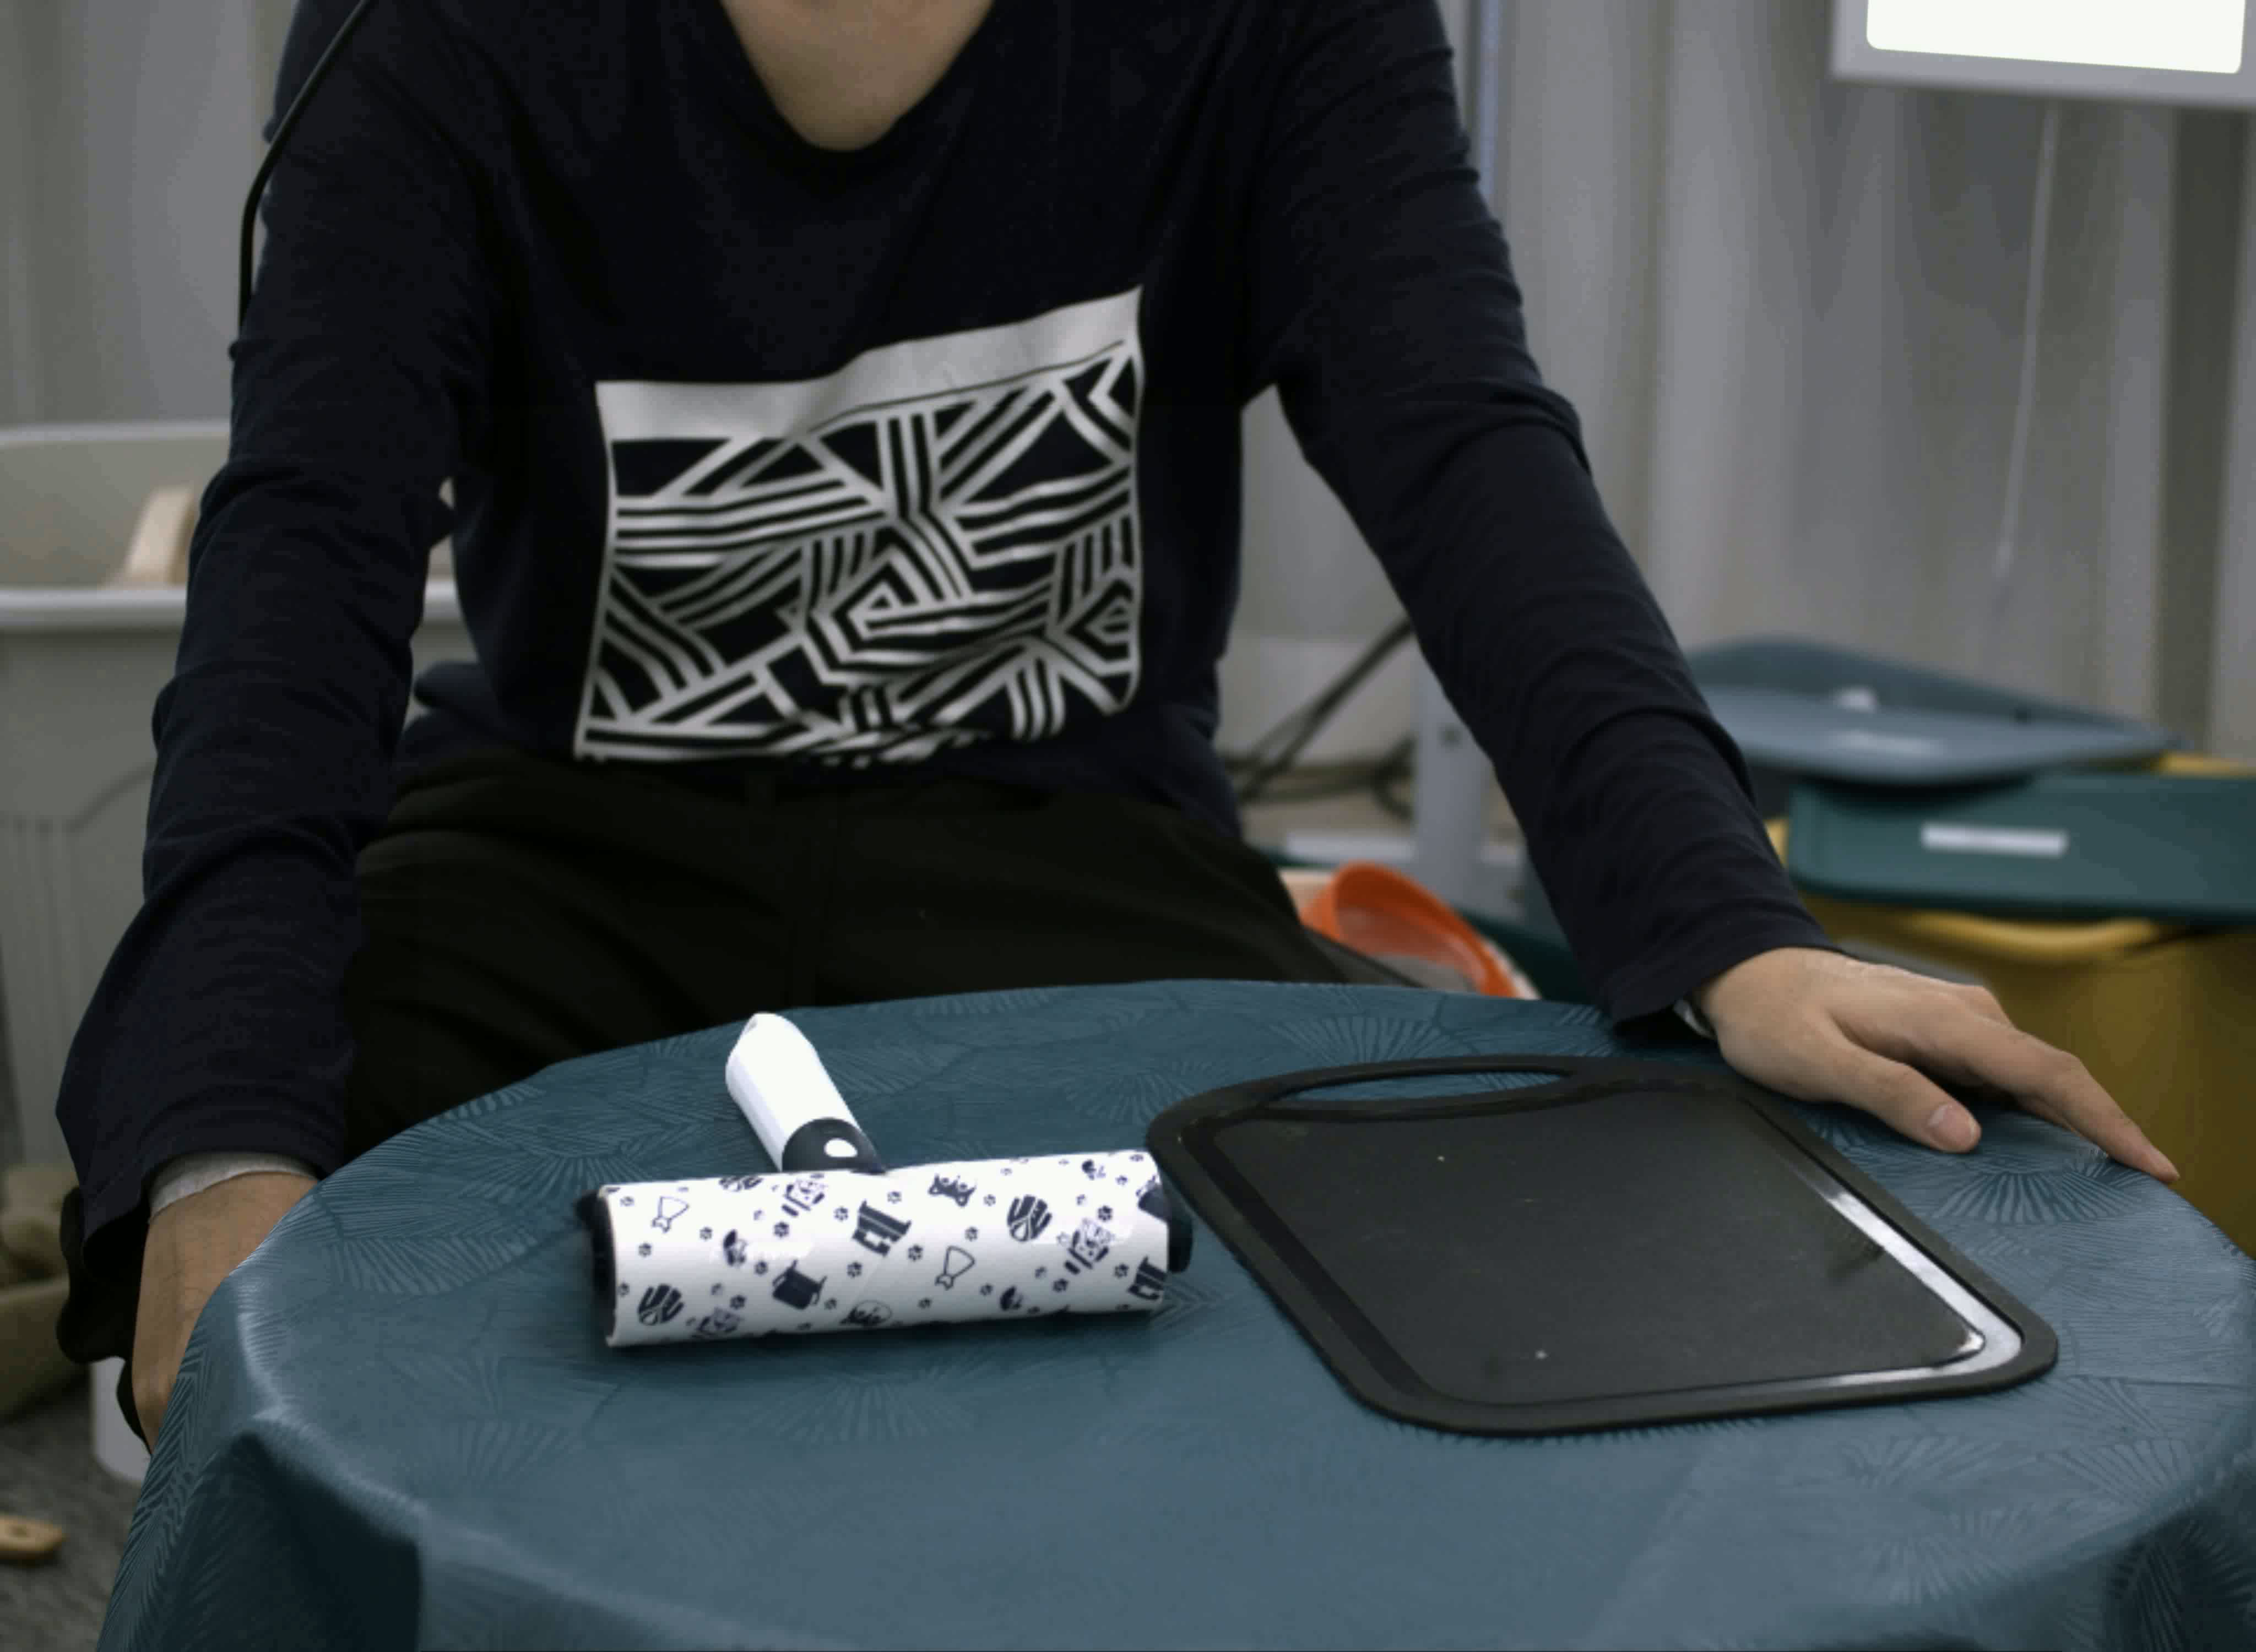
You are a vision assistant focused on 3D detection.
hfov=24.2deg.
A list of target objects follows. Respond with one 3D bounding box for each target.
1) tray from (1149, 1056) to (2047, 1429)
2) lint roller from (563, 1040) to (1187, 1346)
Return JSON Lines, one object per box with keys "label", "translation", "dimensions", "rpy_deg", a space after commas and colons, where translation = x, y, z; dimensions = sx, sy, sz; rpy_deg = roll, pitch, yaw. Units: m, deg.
{"label": "tray", "translation": [0.131, 0.118, 1.597], "dimensions": [0.211, 0.010, 0.322], "rpy_deg": [-3, 16, -14]}
{"label": "lint roller", "translation": [-0.095, 0.097, 1.598], "dimensions": [0.176, 0.051, 0.245], "rpy_deg": [-4, 14, -13]}
